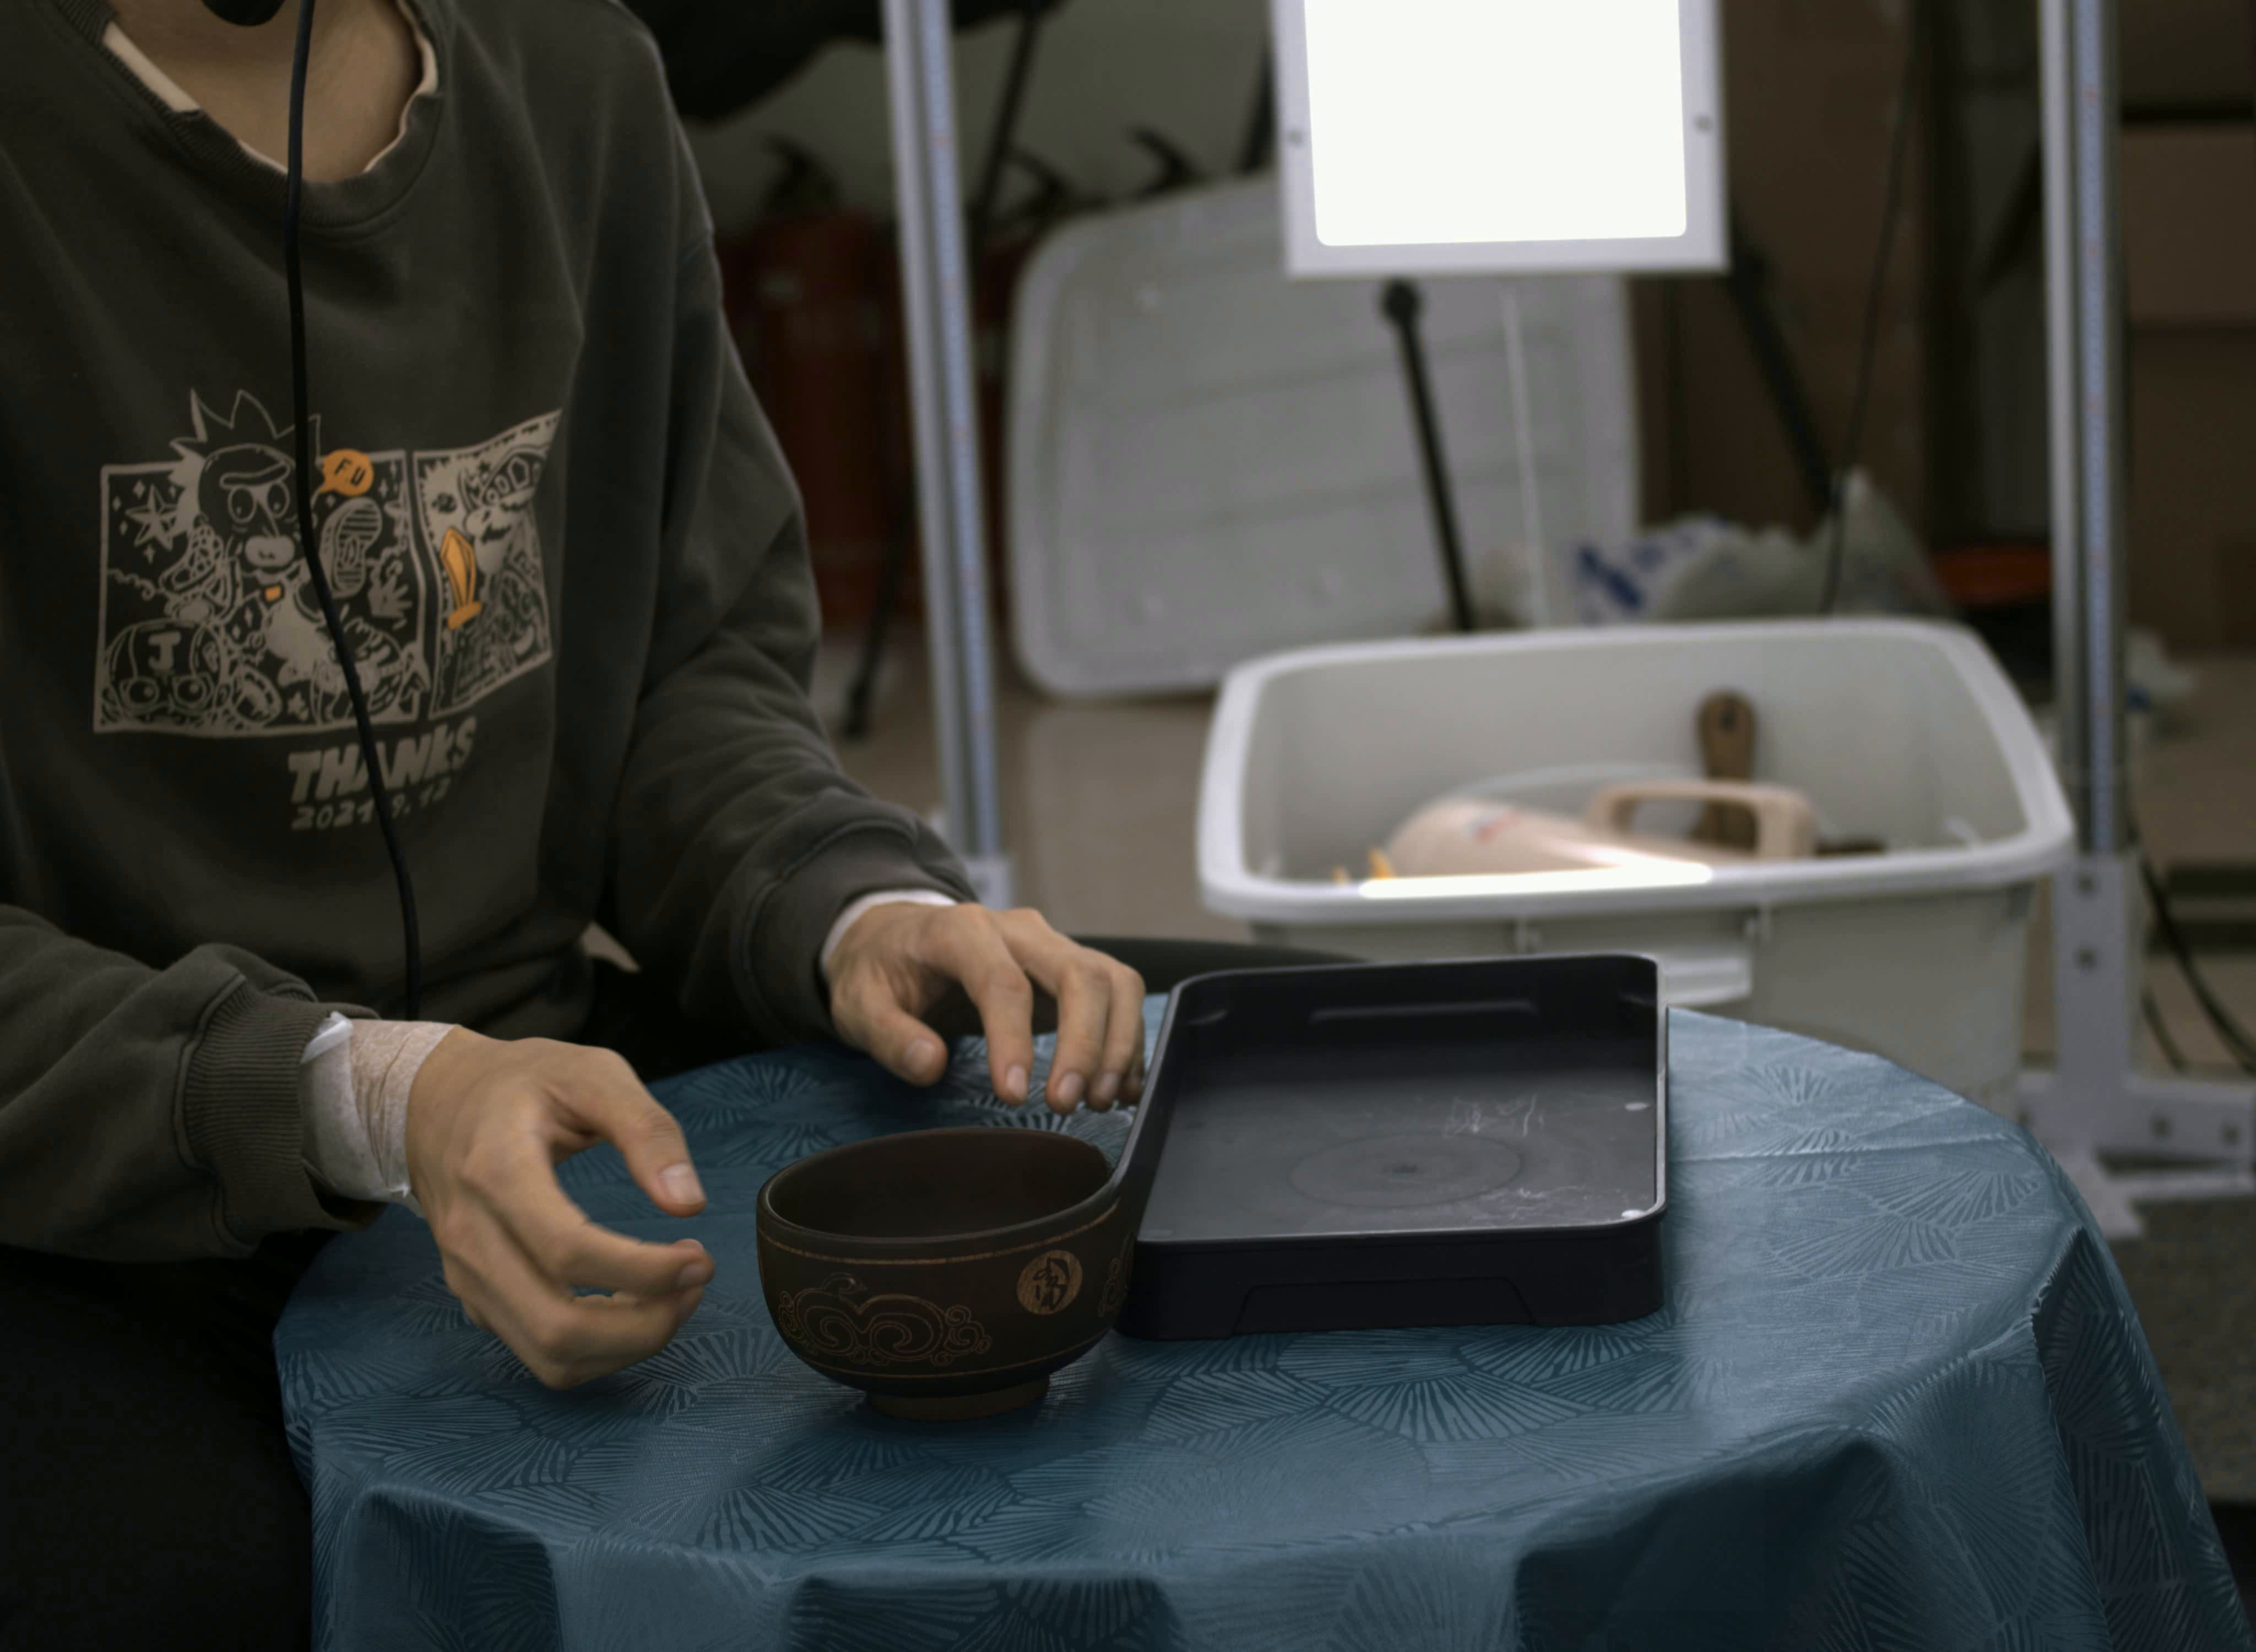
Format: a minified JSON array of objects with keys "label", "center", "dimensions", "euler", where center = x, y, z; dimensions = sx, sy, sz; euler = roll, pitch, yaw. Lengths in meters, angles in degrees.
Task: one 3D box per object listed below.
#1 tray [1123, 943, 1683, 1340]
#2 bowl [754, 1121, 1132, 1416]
[{"label":"tray","center":[0.095,0.104,1.882],"dimensions":[0.185,0.037,0.316],"euler":[-4,14,6]},{"label":"bowl","center":[-0.055,0.141,1.708],"dimensions":[0.118,0.070,0.118],"euler":[-6,13,0]}]
